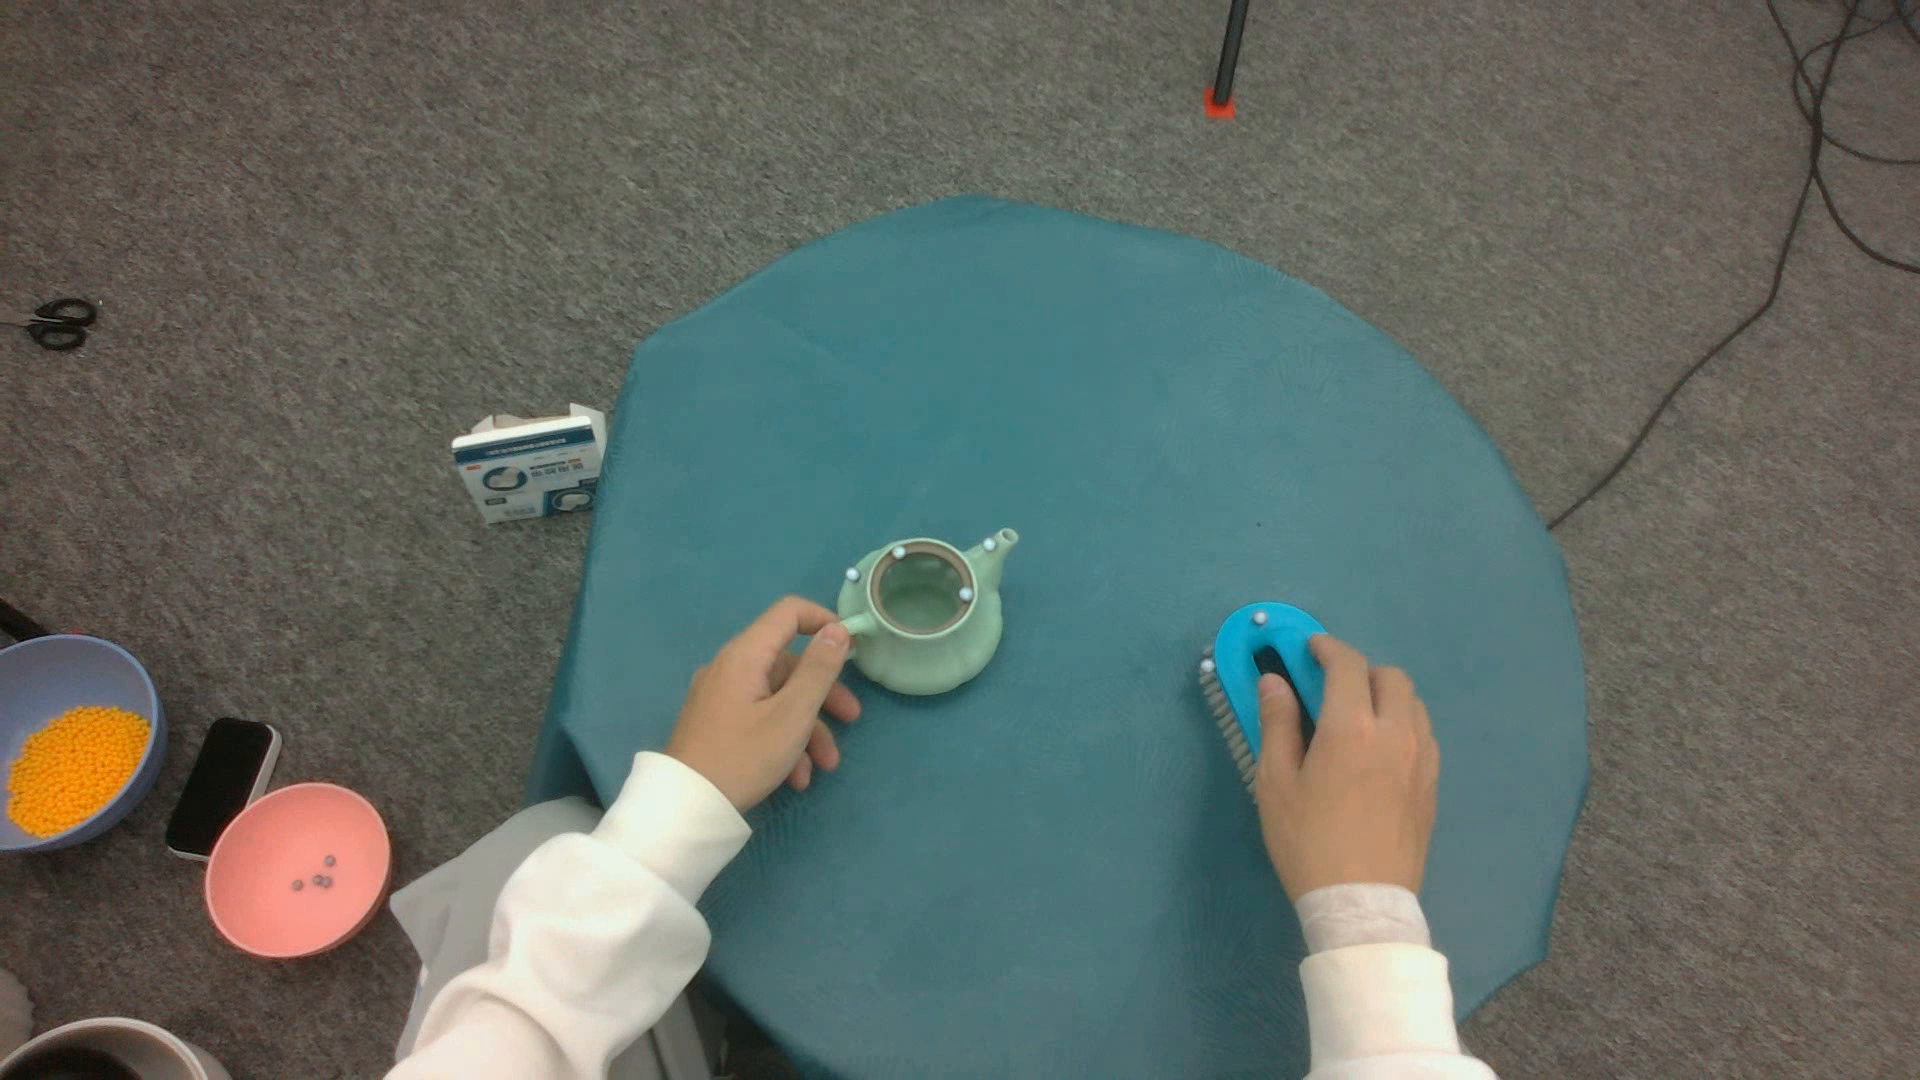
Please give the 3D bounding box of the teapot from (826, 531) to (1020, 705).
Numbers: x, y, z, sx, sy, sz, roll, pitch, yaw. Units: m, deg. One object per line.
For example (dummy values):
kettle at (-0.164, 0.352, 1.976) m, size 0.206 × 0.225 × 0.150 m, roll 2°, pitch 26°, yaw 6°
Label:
teapot at (-0.021, 0.047, 0.795) m, size 0.137 × 0.061 × 0.096 m, roll -34°, pitch 71°, yaw -19°

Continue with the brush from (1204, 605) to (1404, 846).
brush at (0.200, 0.096, 0.779) m, size 0.084 × 0.063 × 0.142 m, roll -14°, pitch 64°, yaw -16°
